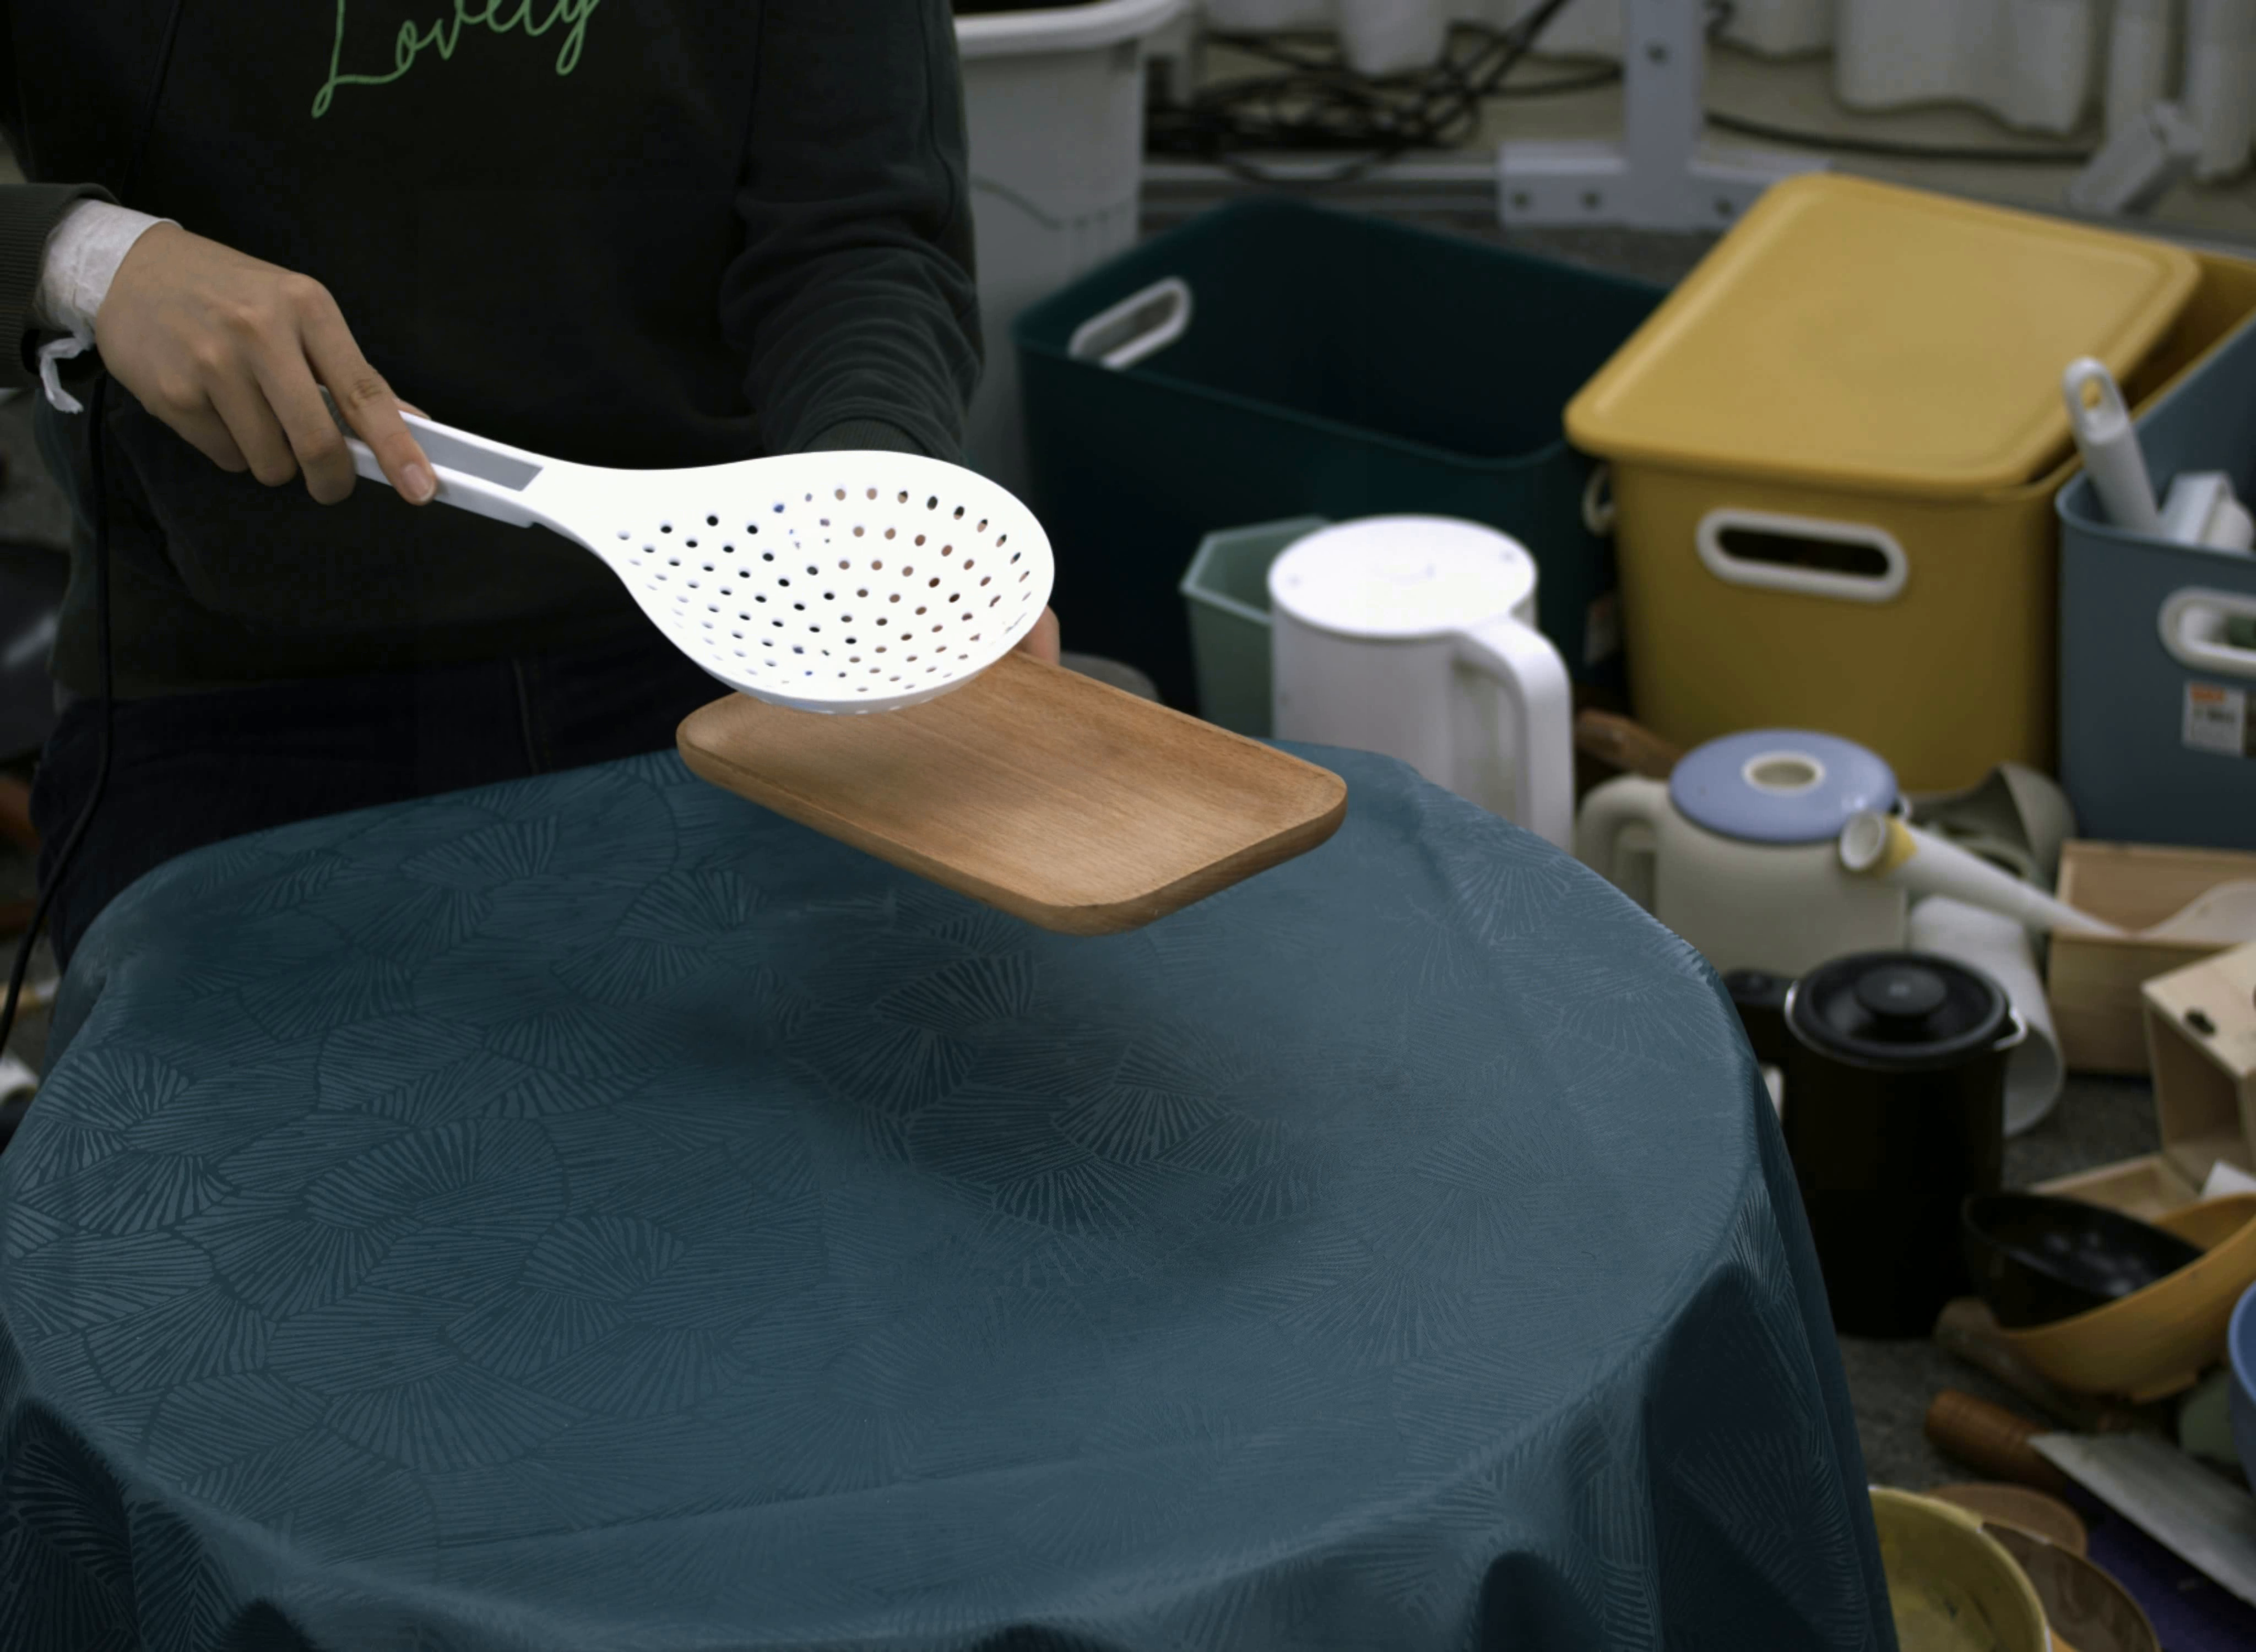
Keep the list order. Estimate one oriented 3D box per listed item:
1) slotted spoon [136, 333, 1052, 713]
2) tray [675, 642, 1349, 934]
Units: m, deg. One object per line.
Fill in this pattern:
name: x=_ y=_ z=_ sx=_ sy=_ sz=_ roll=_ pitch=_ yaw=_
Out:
slotted spoon: x=-0.189 y=-0.111 z=1.931 sx=0.348 sy=0.045 sz=0.138 roll=22 pitch=42 yaw=17
tray: x=-0.042 y=-0.017 z=1.905 sx=0.132 sy=0.023 sz=0.250 roll=-21 pitch=26 yaw=-33
